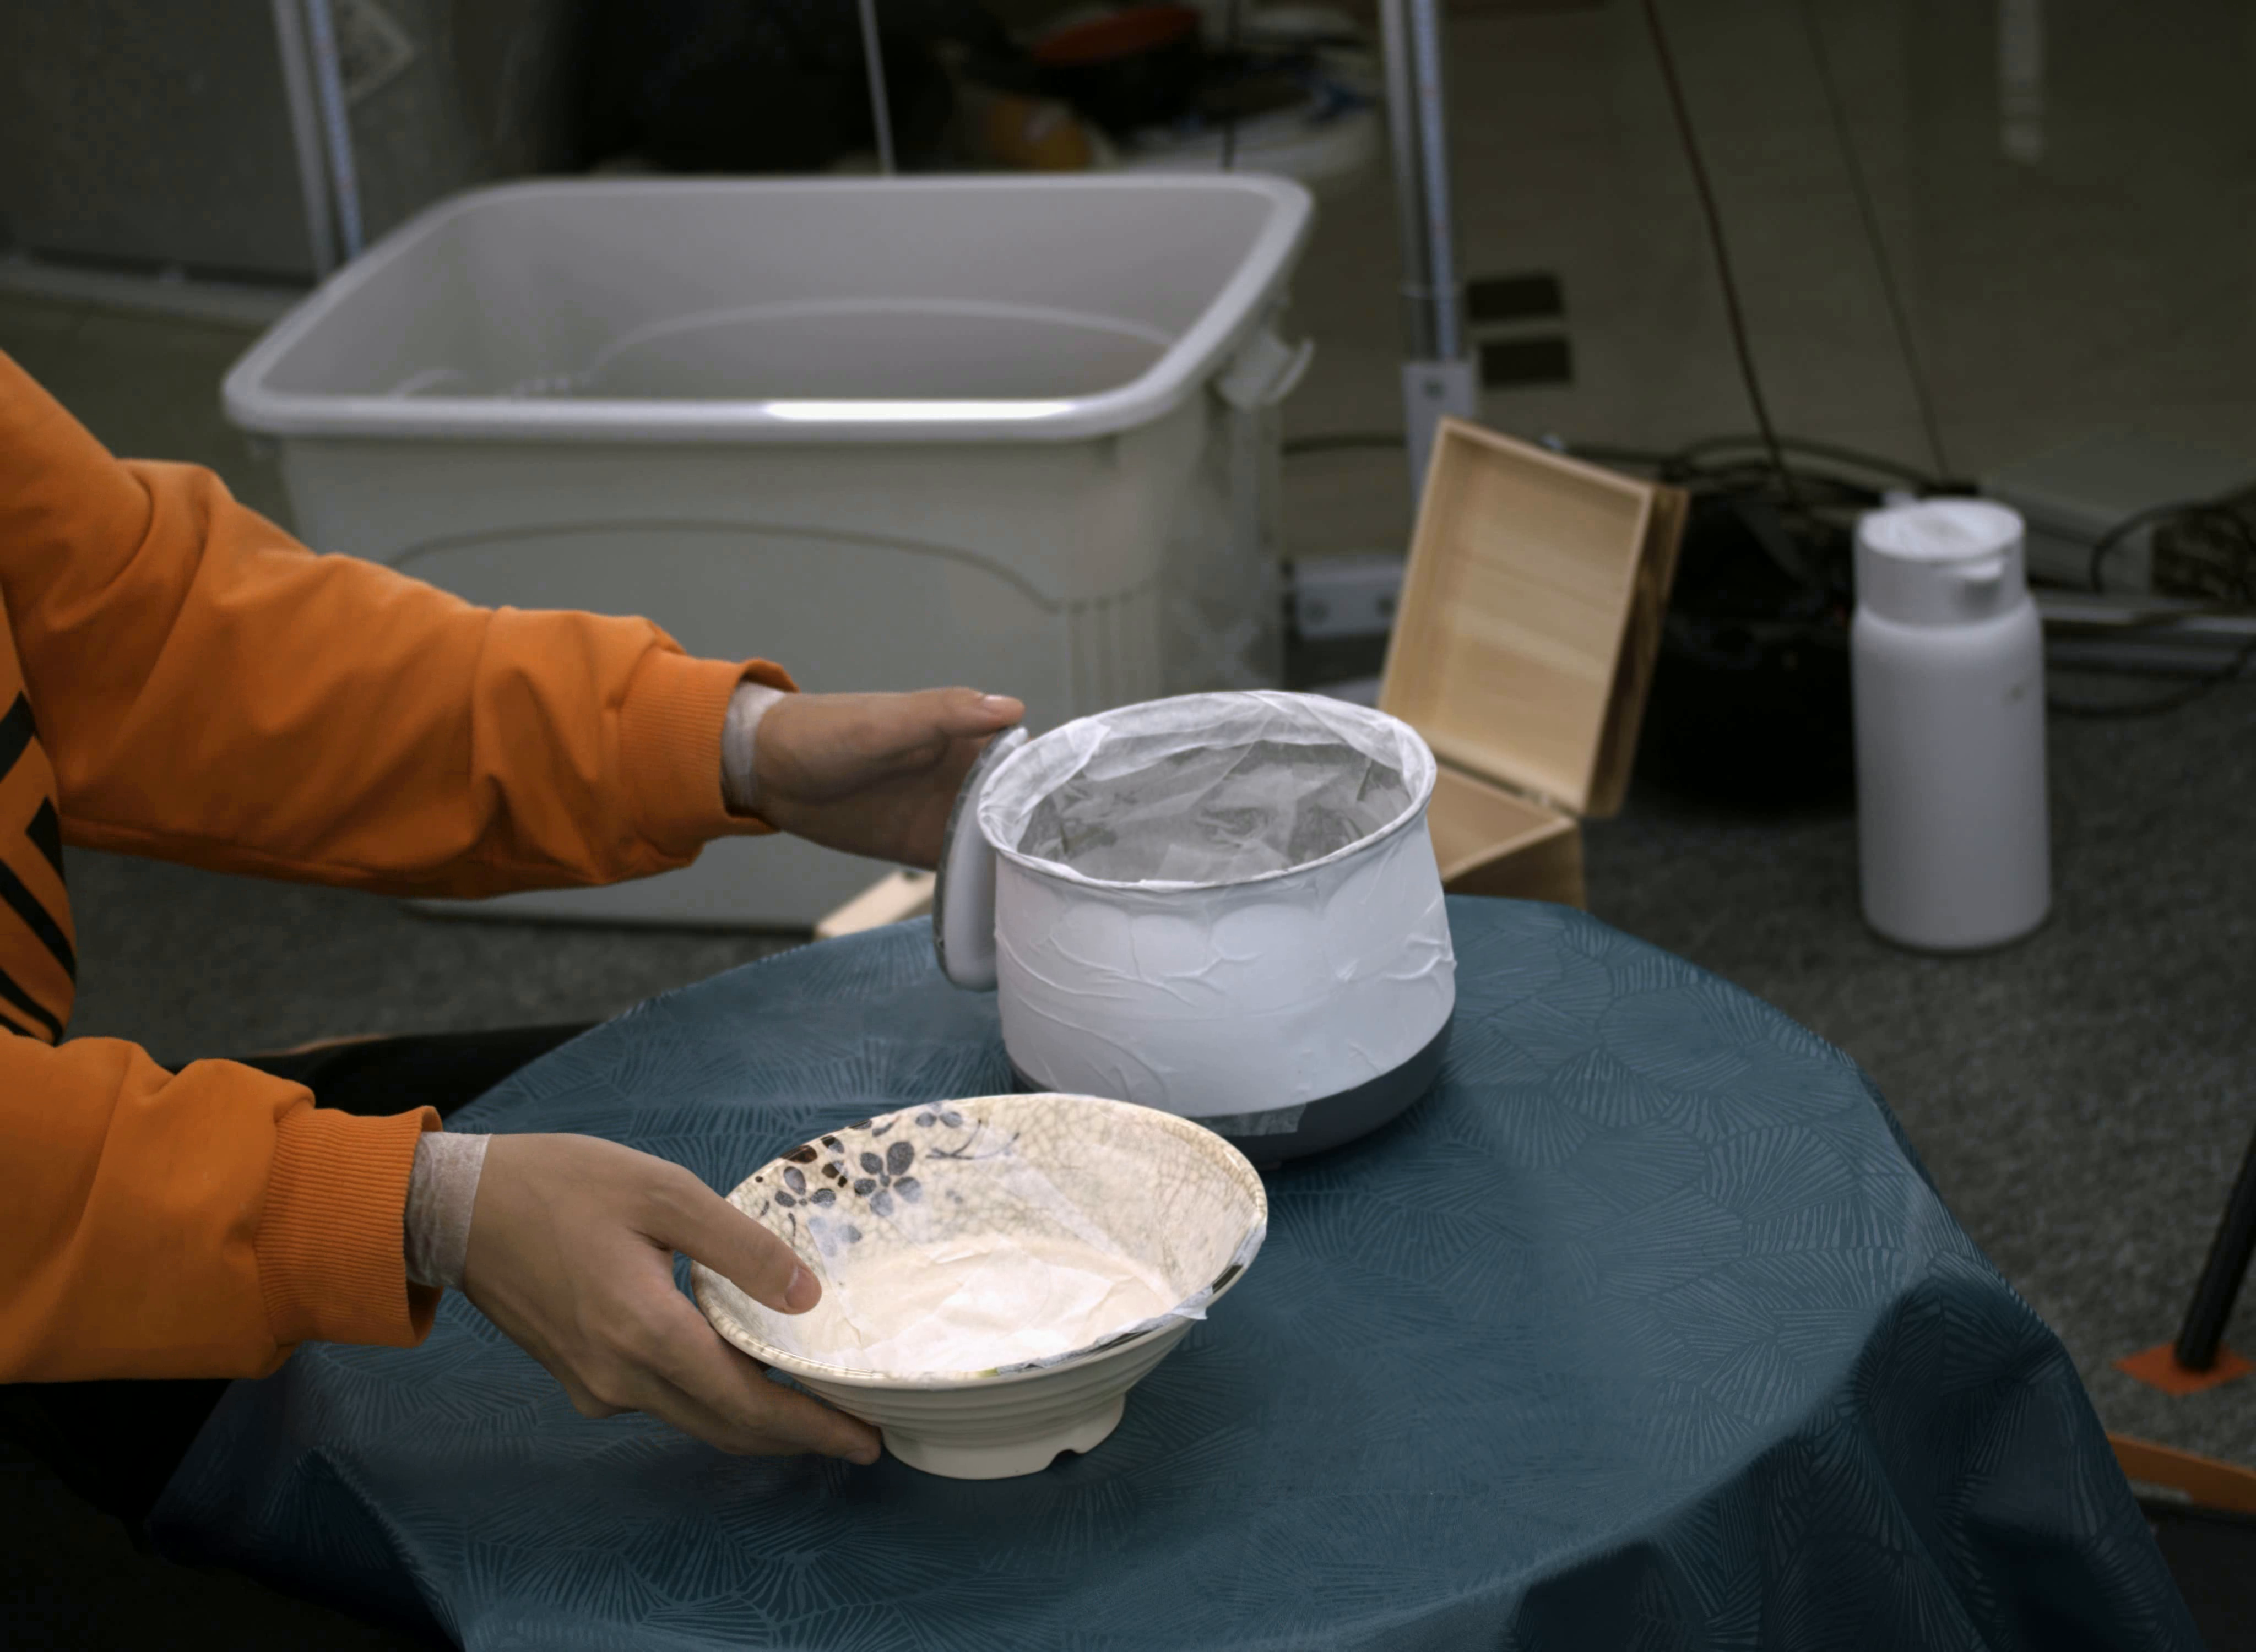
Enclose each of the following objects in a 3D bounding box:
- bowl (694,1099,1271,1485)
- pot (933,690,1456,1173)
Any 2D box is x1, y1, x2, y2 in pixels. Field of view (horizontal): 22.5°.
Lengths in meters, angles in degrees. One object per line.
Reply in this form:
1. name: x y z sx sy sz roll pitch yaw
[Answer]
1. bowl: -0.046 0.176 1.991 0.204 0.079 0.201 -7 25 4
2. pot: 0.014 0.036 2.198 0.232 0.139 0.177 14 32 37
